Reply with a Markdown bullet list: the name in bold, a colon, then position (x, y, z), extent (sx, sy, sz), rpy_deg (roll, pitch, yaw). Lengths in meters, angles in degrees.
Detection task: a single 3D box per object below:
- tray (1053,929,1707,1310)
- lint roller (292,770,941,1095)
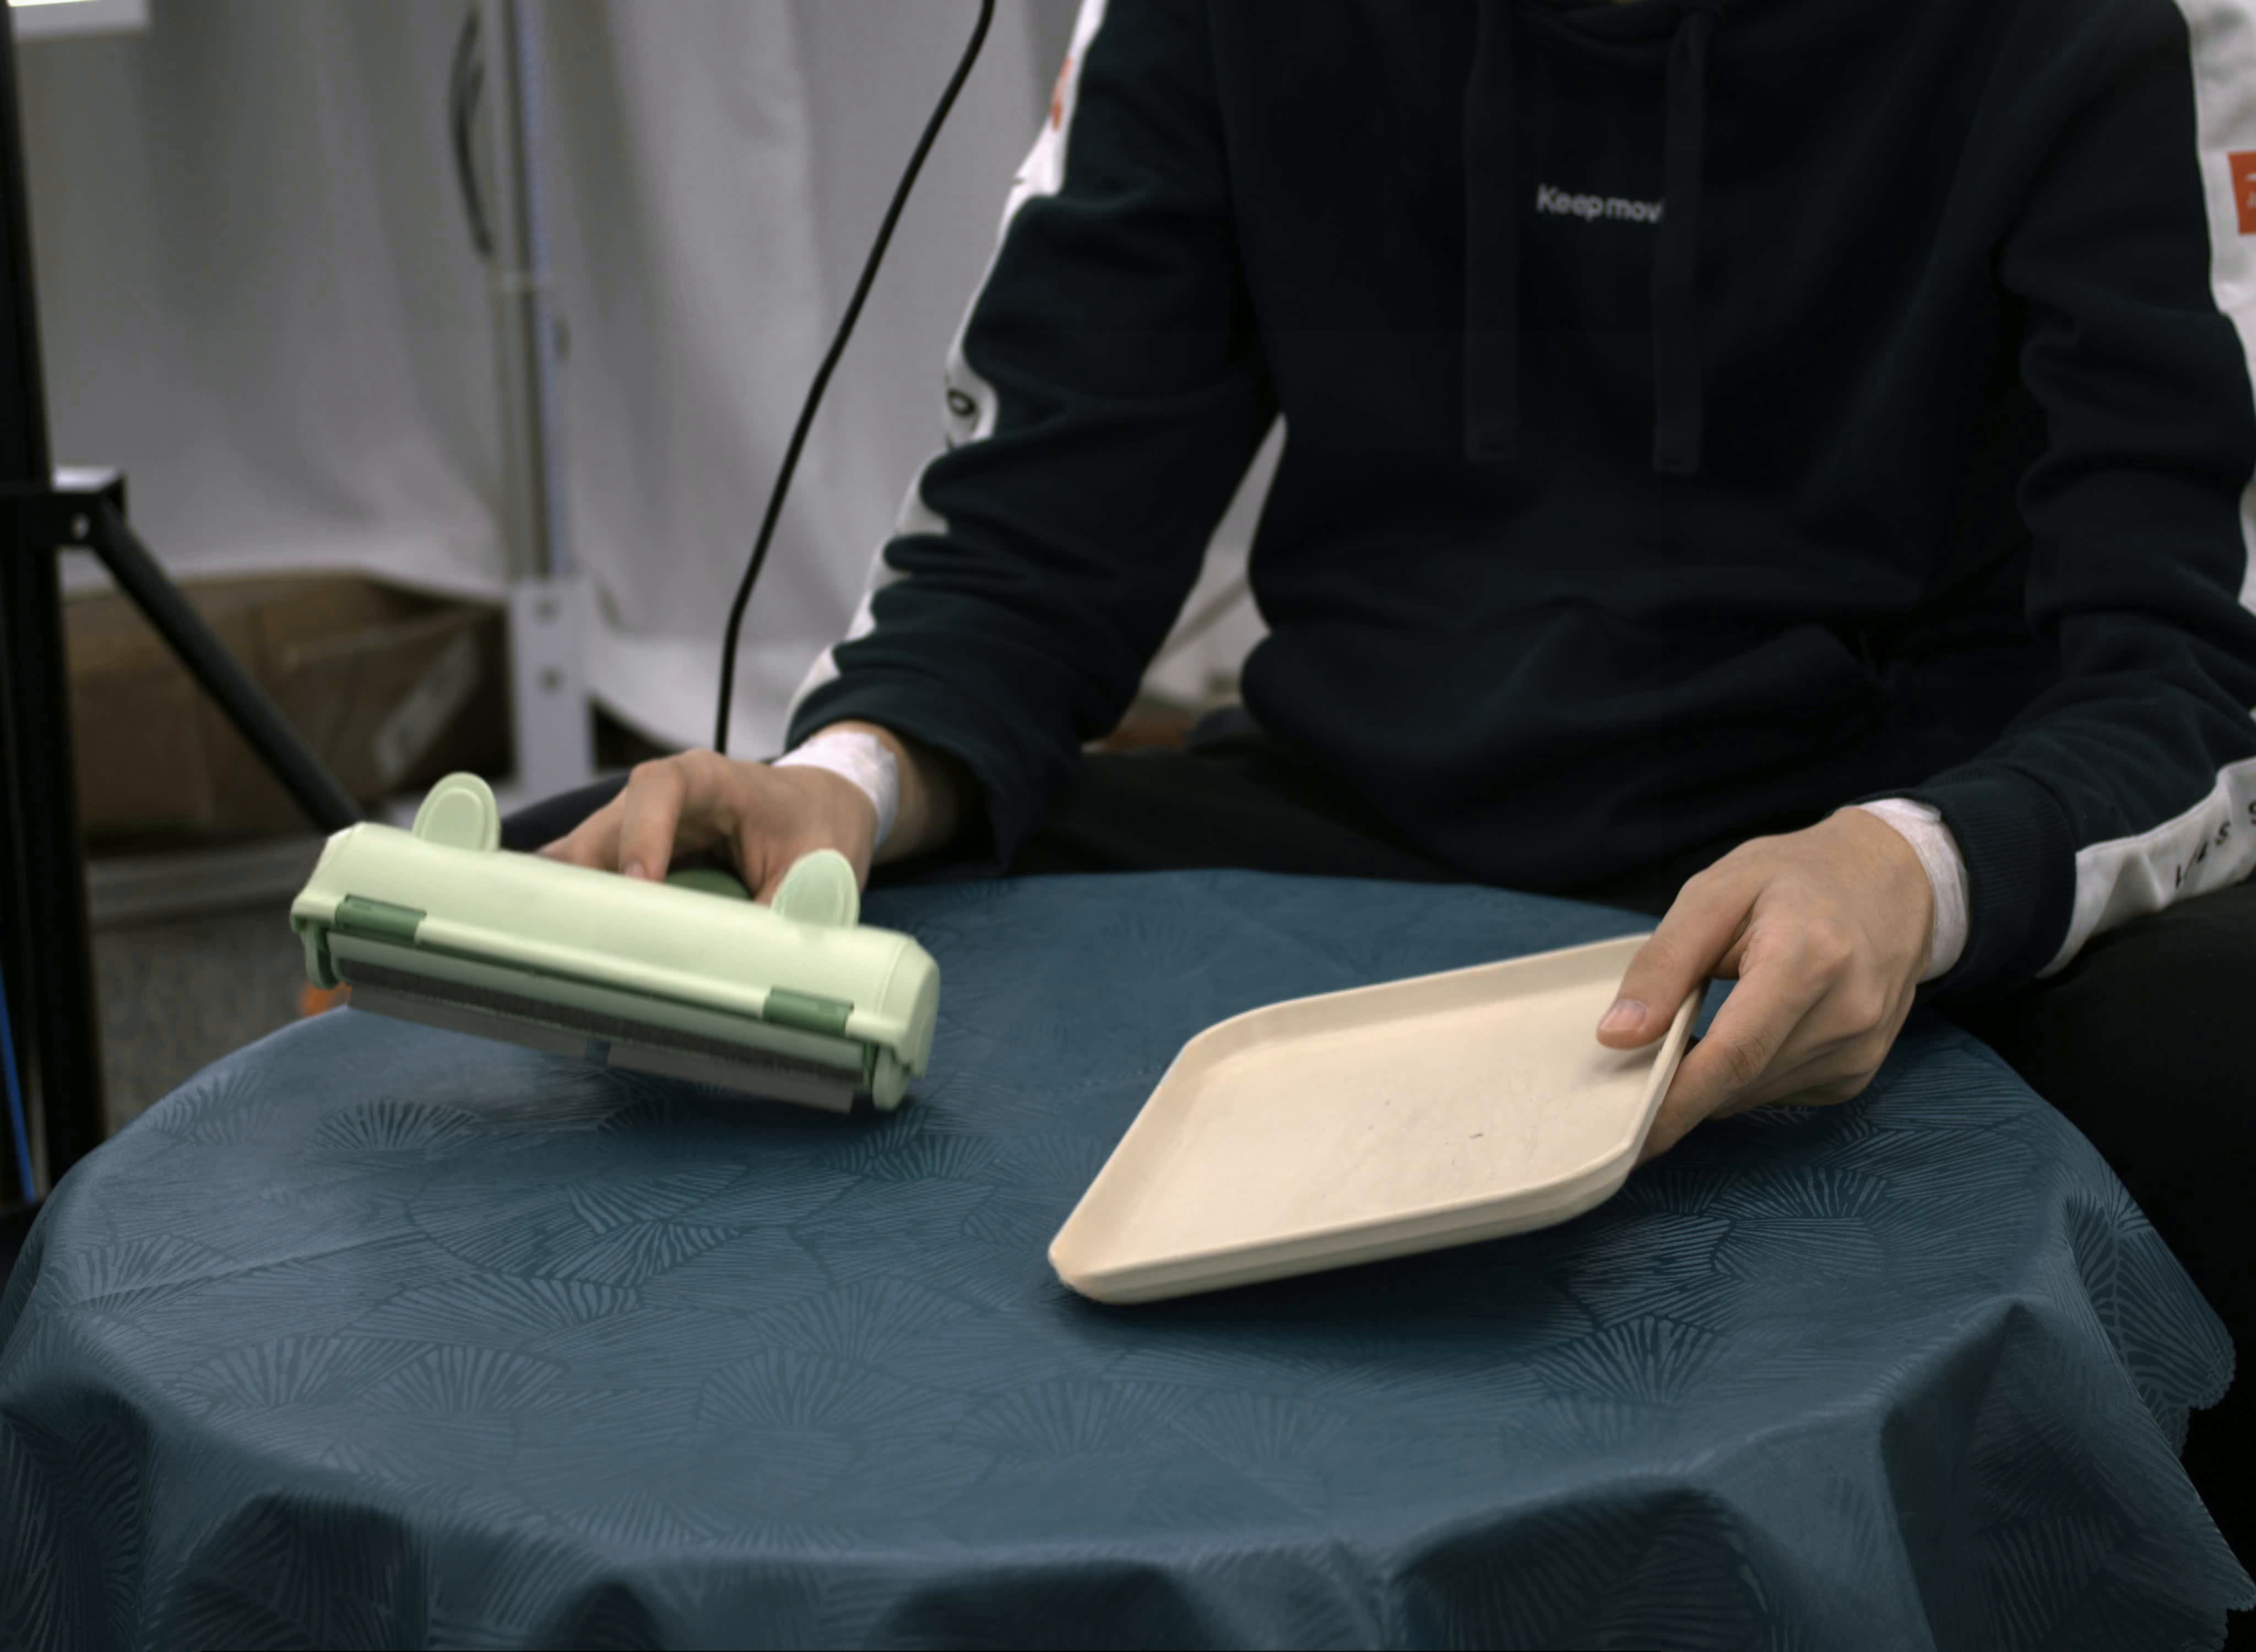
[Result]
- **tray**: position (0.079, 0.085, 1.537), extent (0.172, 0.017, 0.238), rpy_deg (-11, 14, 16)
- **lint roller**: position (-0.145, 0.020, 1.694), extent (0.199, 0.082, 0.182), rpy_deg (11, 18, 10)
